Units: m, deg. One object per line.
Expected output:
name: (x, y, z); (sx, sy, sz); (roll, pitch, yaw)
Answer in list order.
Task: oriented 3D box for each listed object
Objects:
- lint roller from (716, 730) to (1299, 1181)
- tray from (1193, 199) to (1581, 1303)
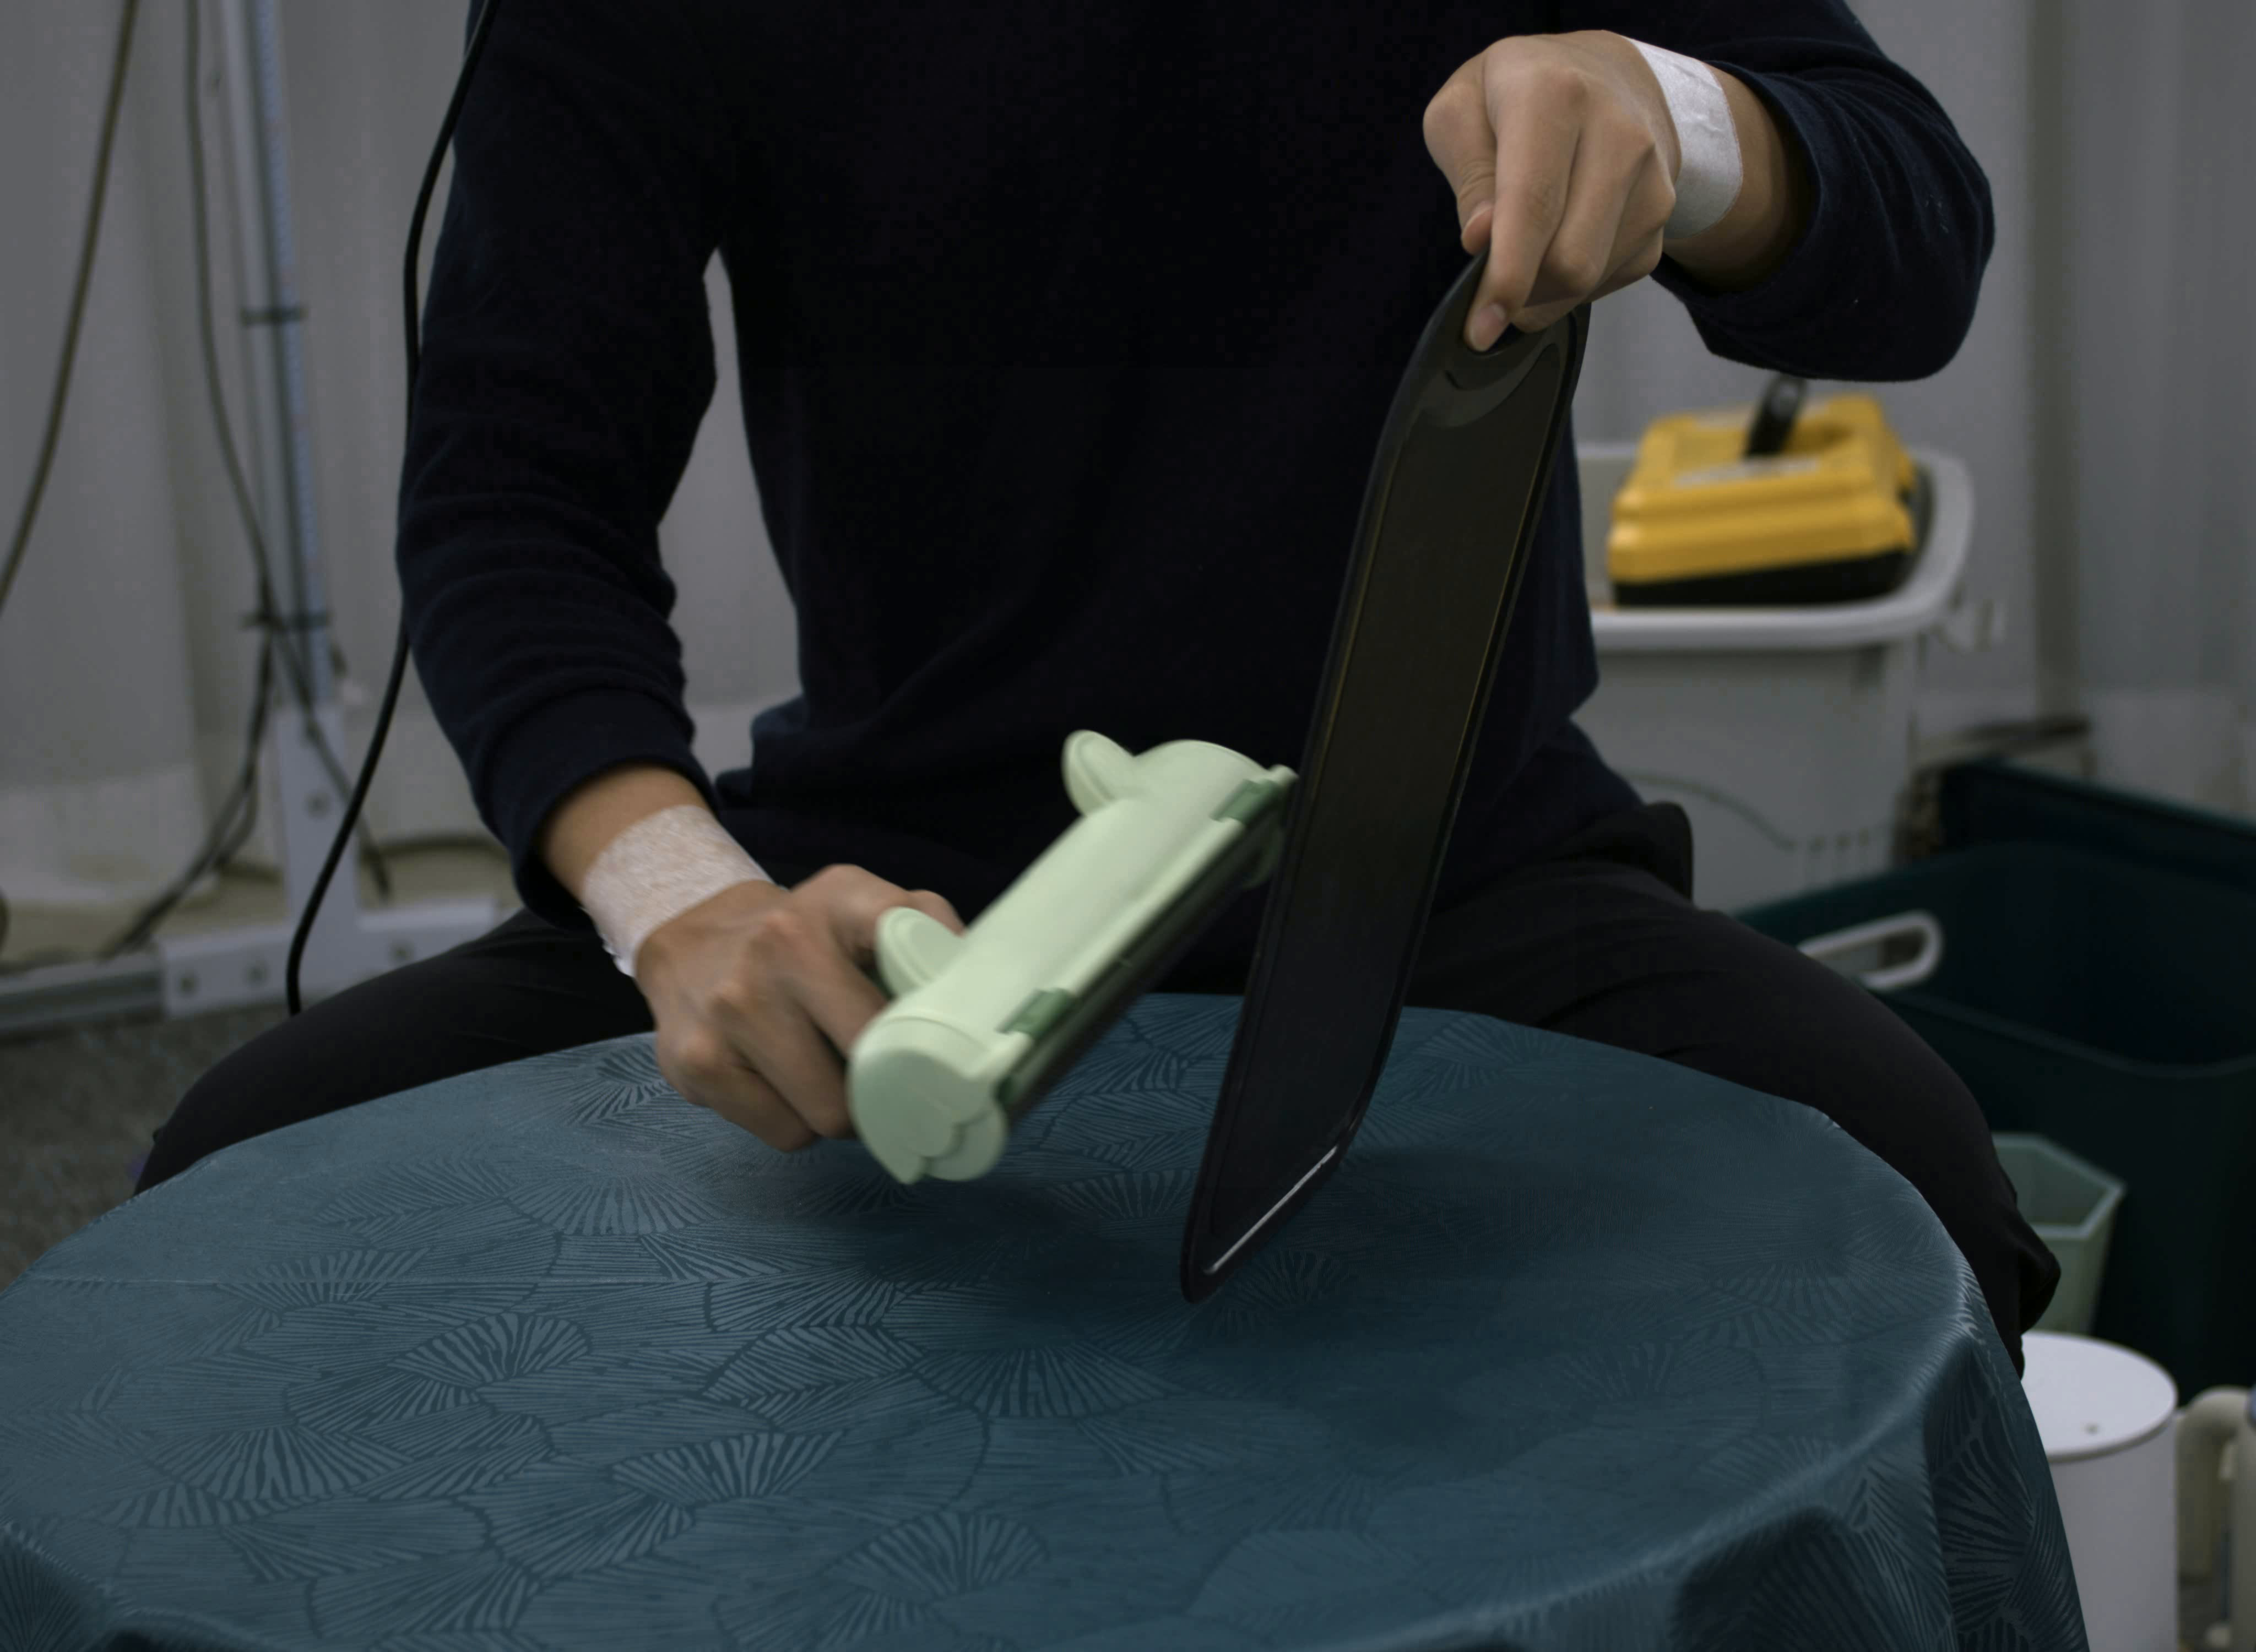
lint roller: (-0.062, 0.038, 1.674); (0.183, 0.081, 0.200); (-8, 22, 33)
tray: (0.080, -0.025, 1.610); (0.010, 0.324, 0.211); (18, 16, 14)
